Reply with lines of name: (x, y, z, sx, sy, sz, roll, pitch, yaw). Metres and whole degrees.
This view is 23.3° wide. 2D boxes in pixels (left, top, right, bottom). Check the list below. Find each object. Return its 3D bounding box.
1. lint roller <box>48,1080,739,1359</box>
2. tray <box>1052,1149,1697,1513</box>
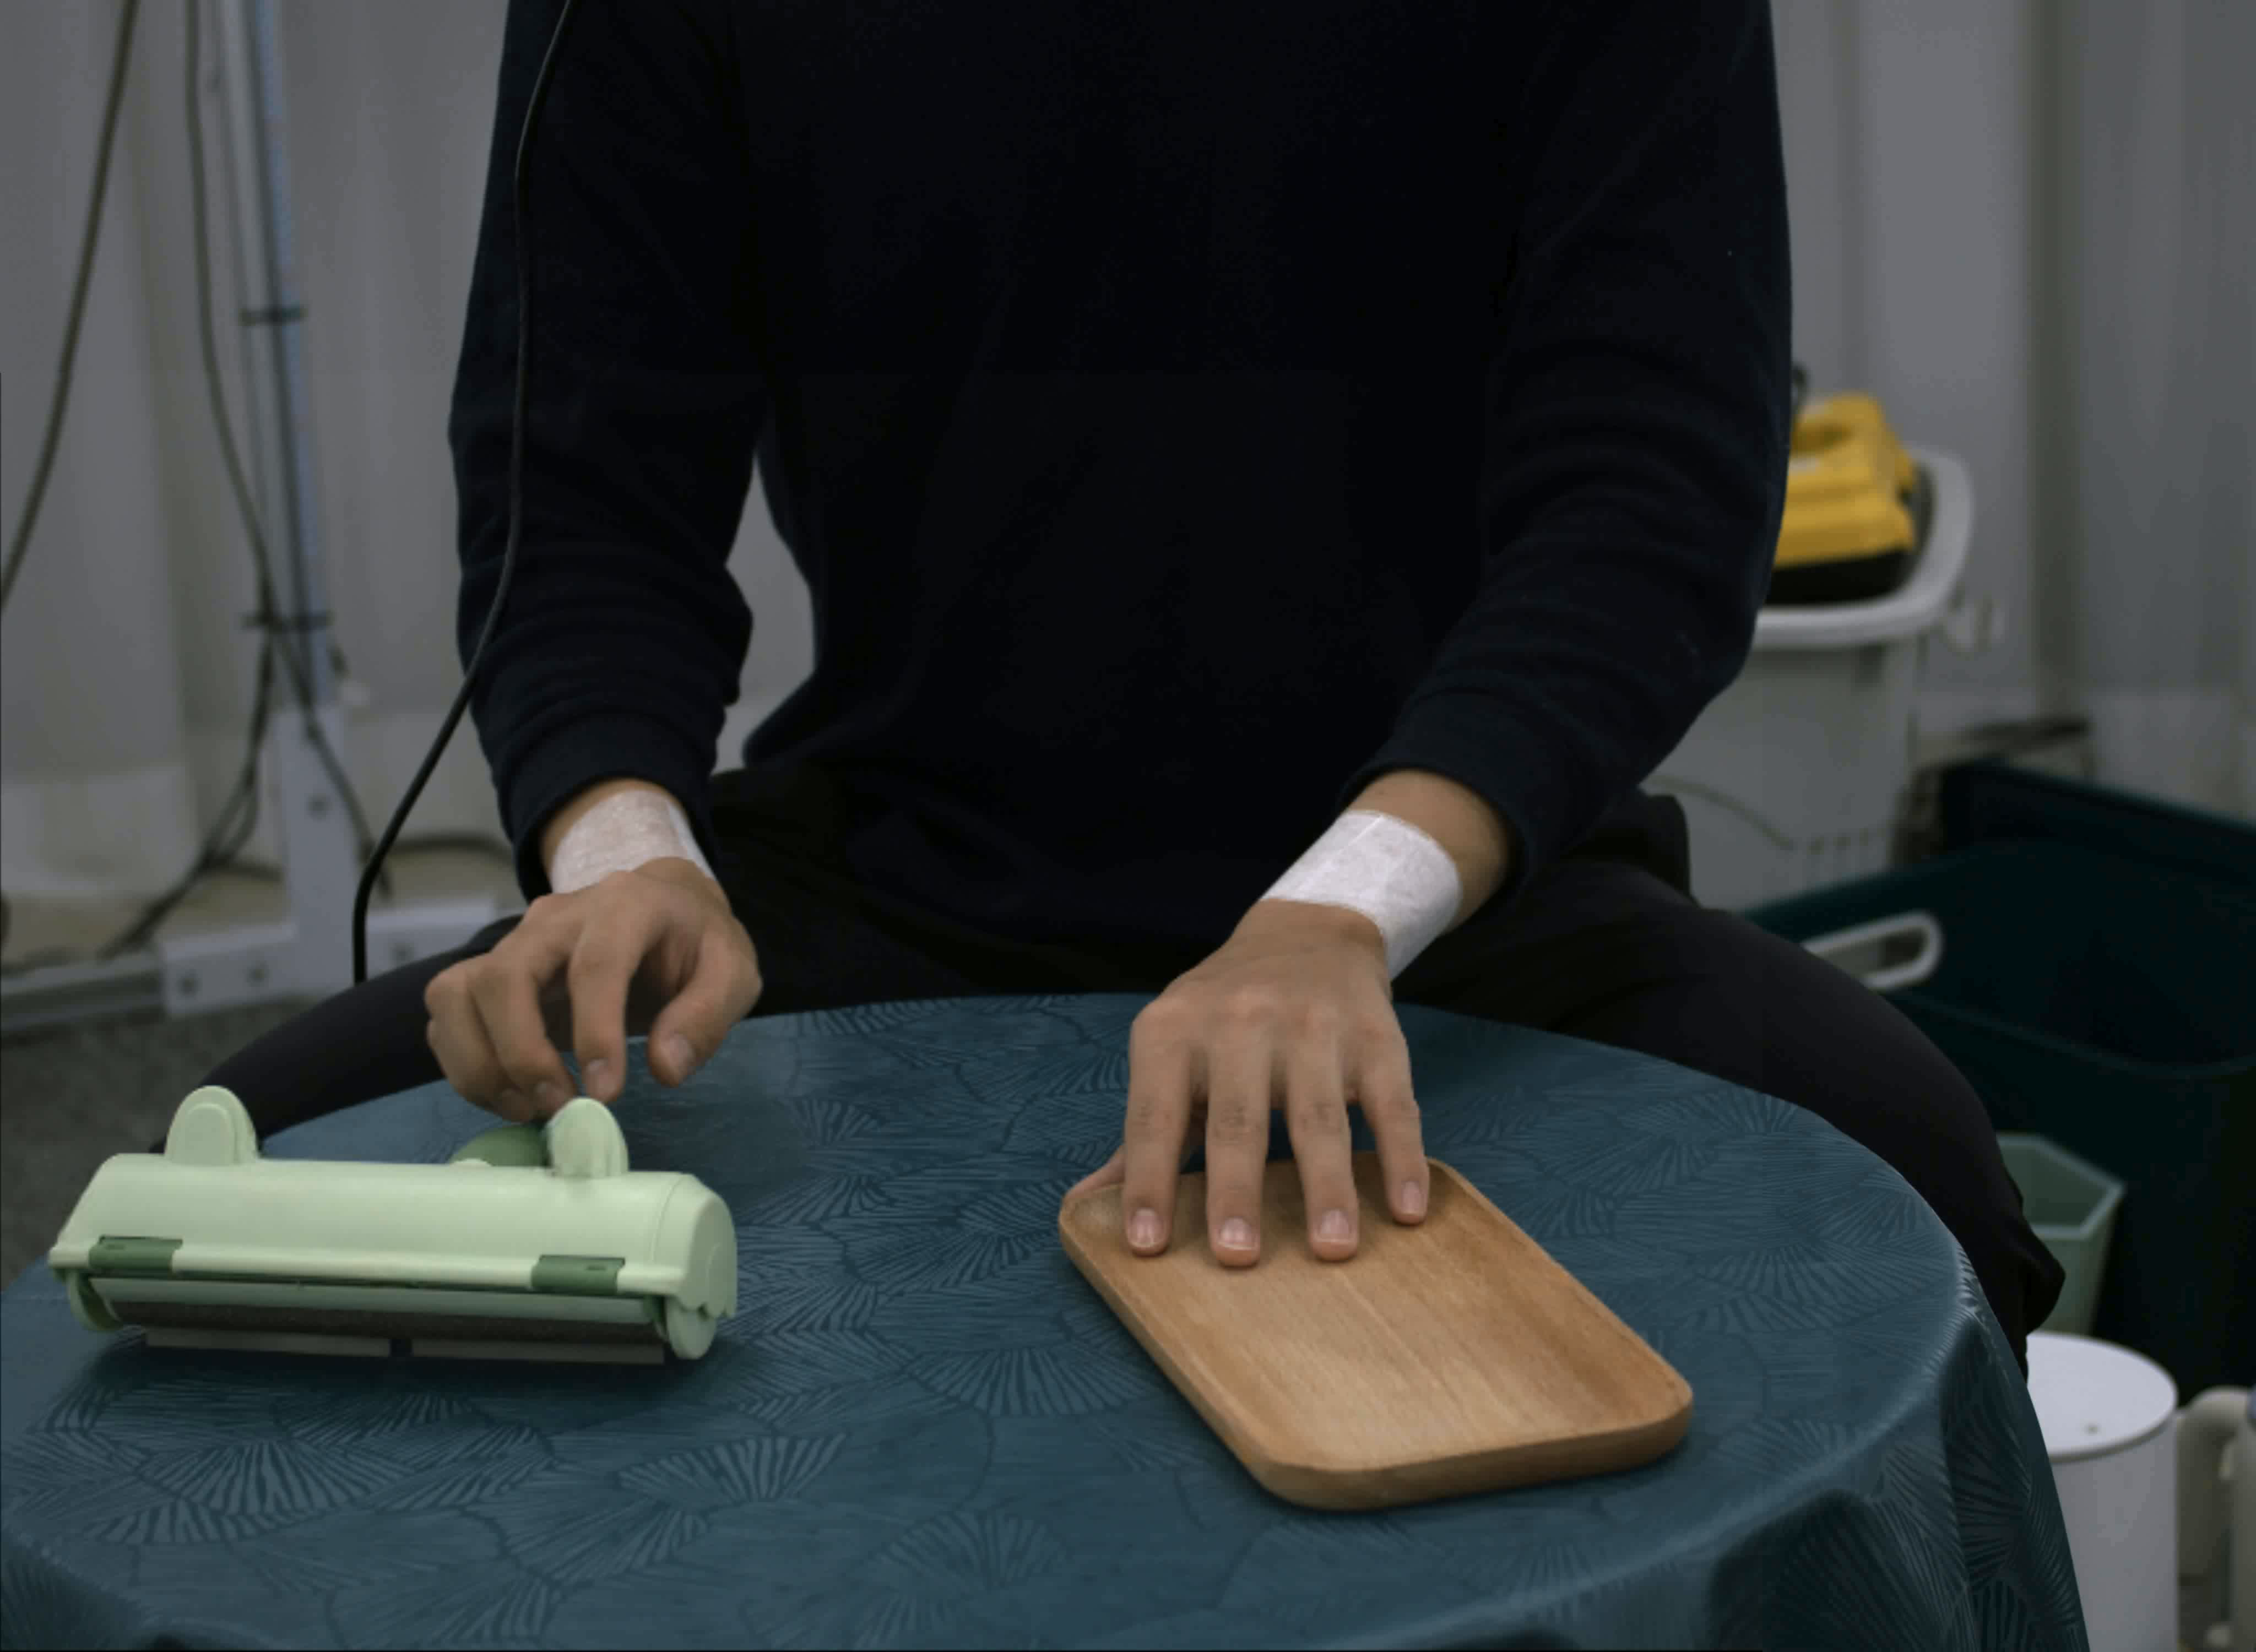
lint roller: (-0.202, 0.098, 1.650, 0.198, 0.081, 0.184, 1, 21, 13)
tray: (0.066, 0.142, 1.570, 0.130, 0.023, 0.252, -5, 14, -15)
